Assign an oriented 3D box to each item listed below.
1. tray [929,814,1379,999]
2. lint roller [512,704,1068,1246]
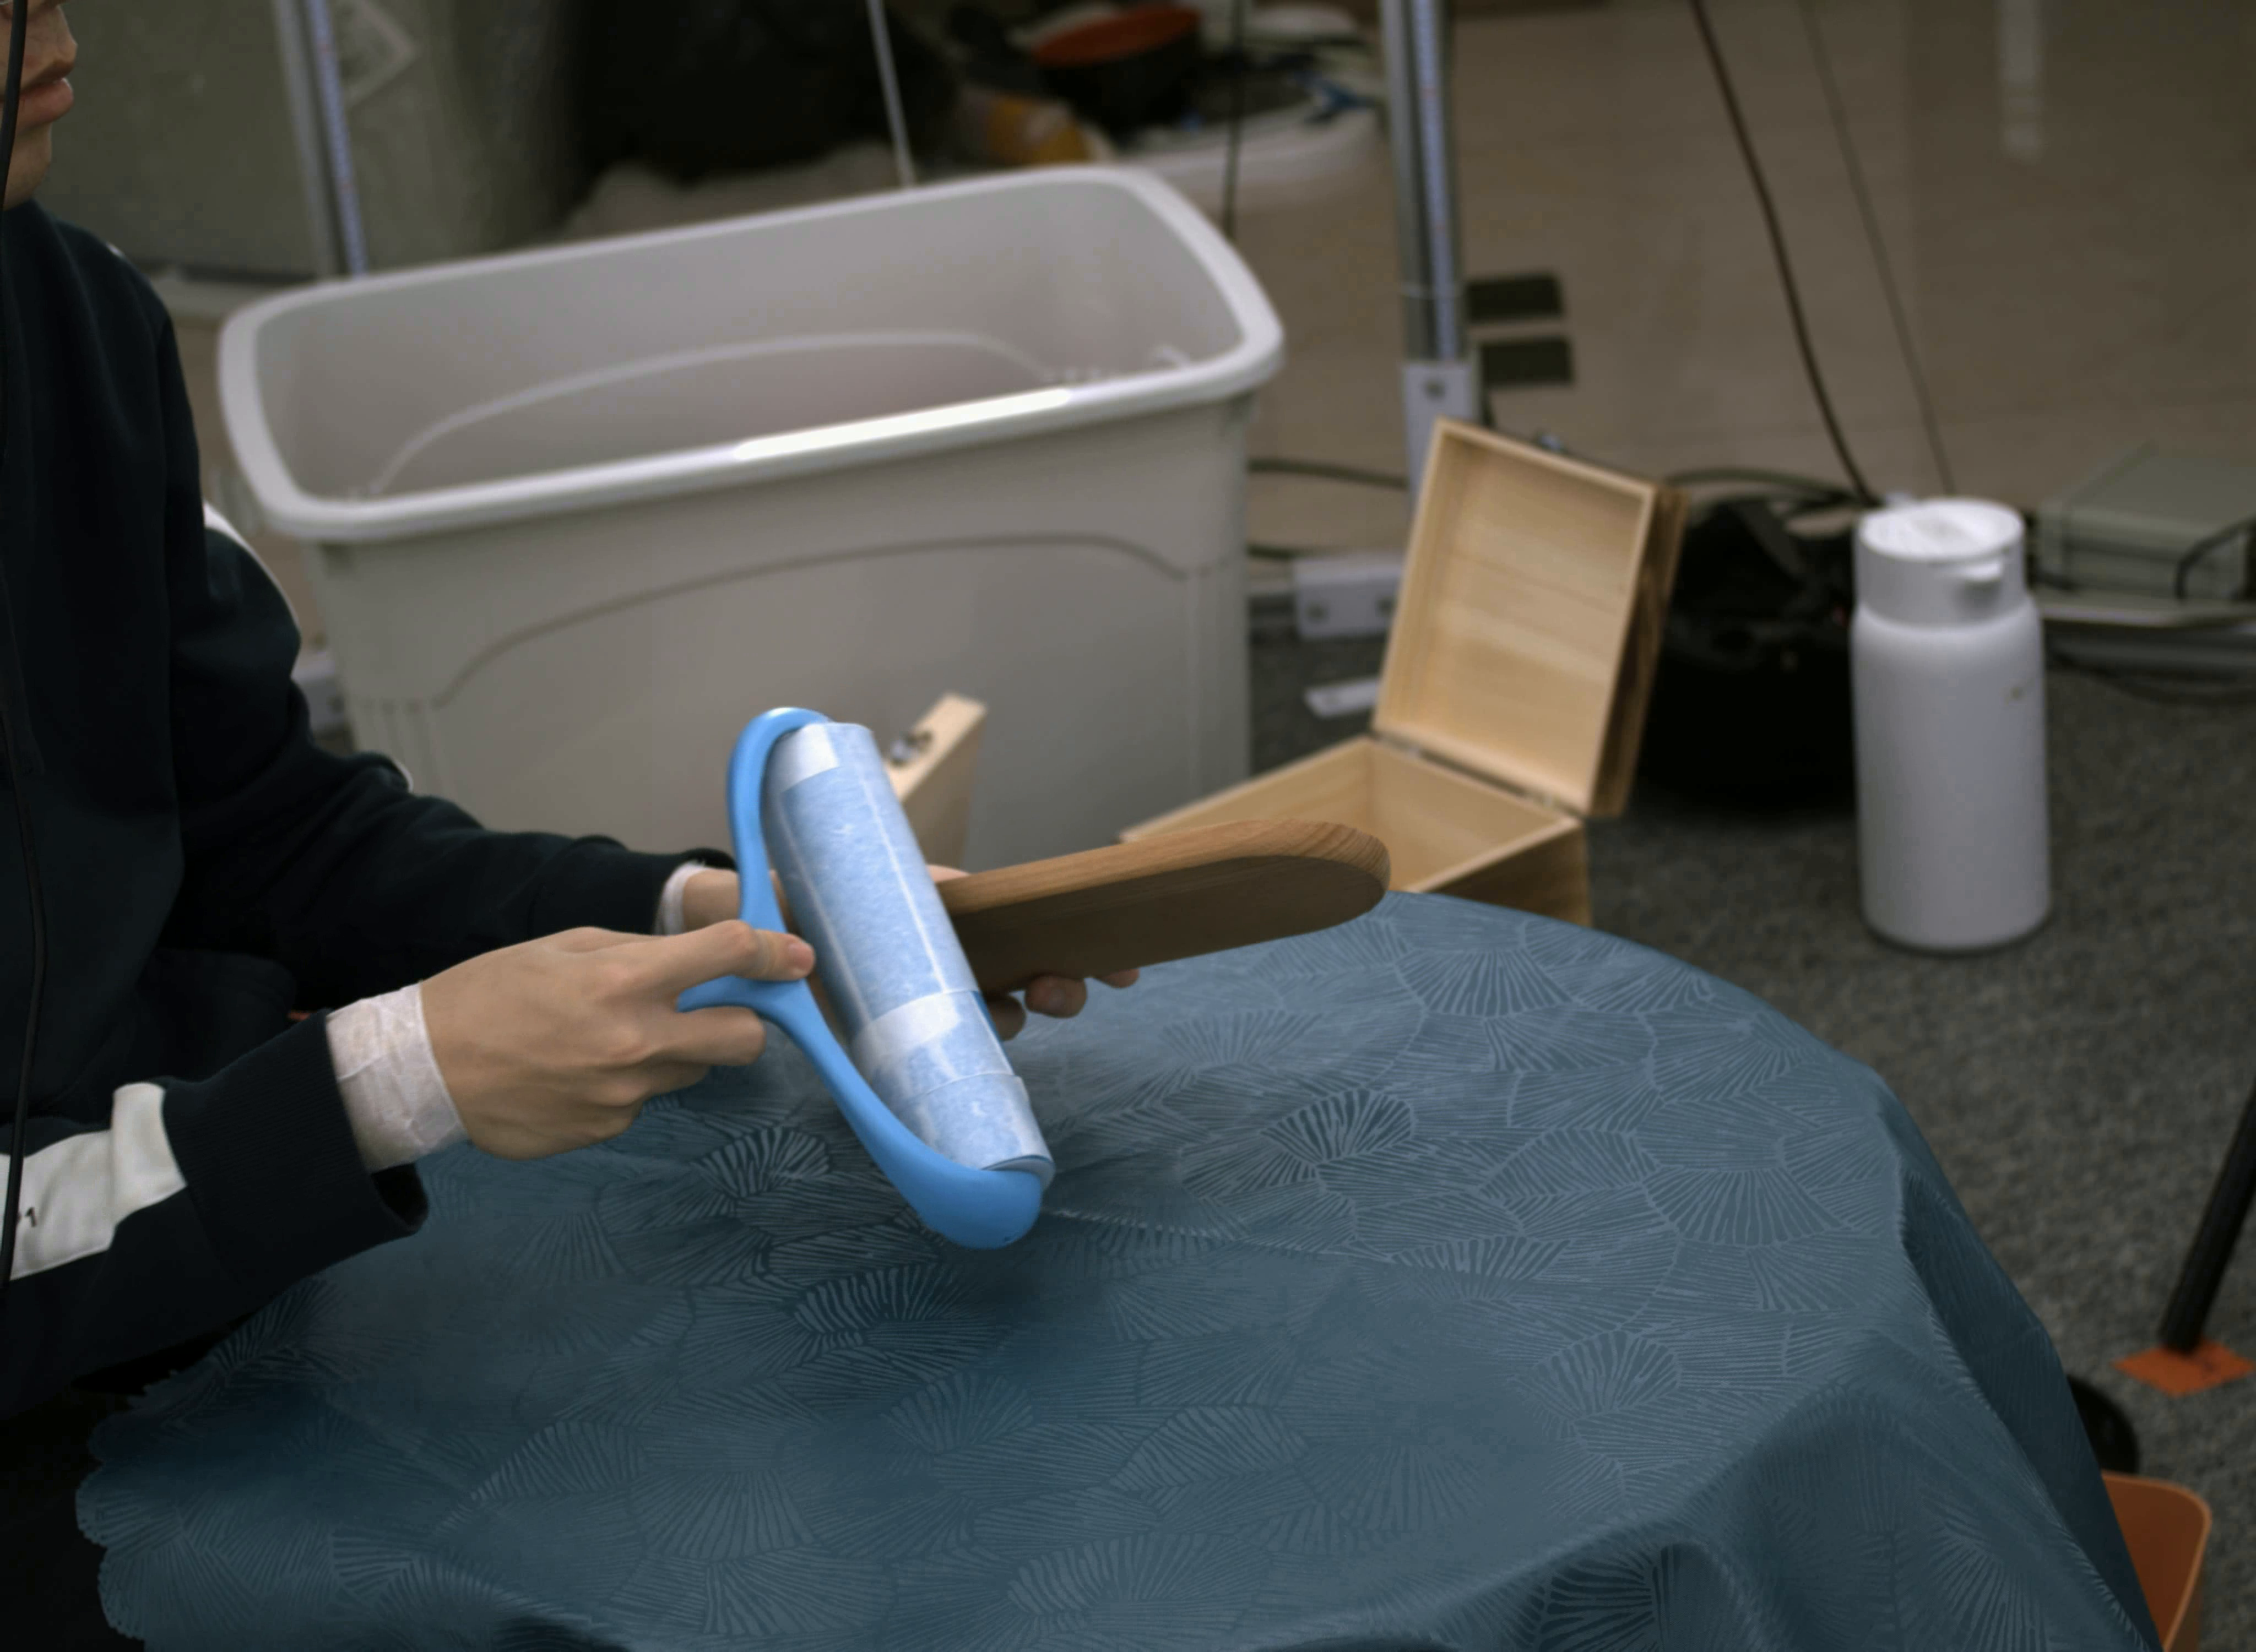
[{"bbox_3d":[-0.016,0.034,2.163,0.231,0.103,0.020,-13,65,18],"label":"tray"},{"bbox_3d":[-0.135,0.067,2.071,0.179,0.069,0.226,-16,67,-23],"label":"lint roller"}]
